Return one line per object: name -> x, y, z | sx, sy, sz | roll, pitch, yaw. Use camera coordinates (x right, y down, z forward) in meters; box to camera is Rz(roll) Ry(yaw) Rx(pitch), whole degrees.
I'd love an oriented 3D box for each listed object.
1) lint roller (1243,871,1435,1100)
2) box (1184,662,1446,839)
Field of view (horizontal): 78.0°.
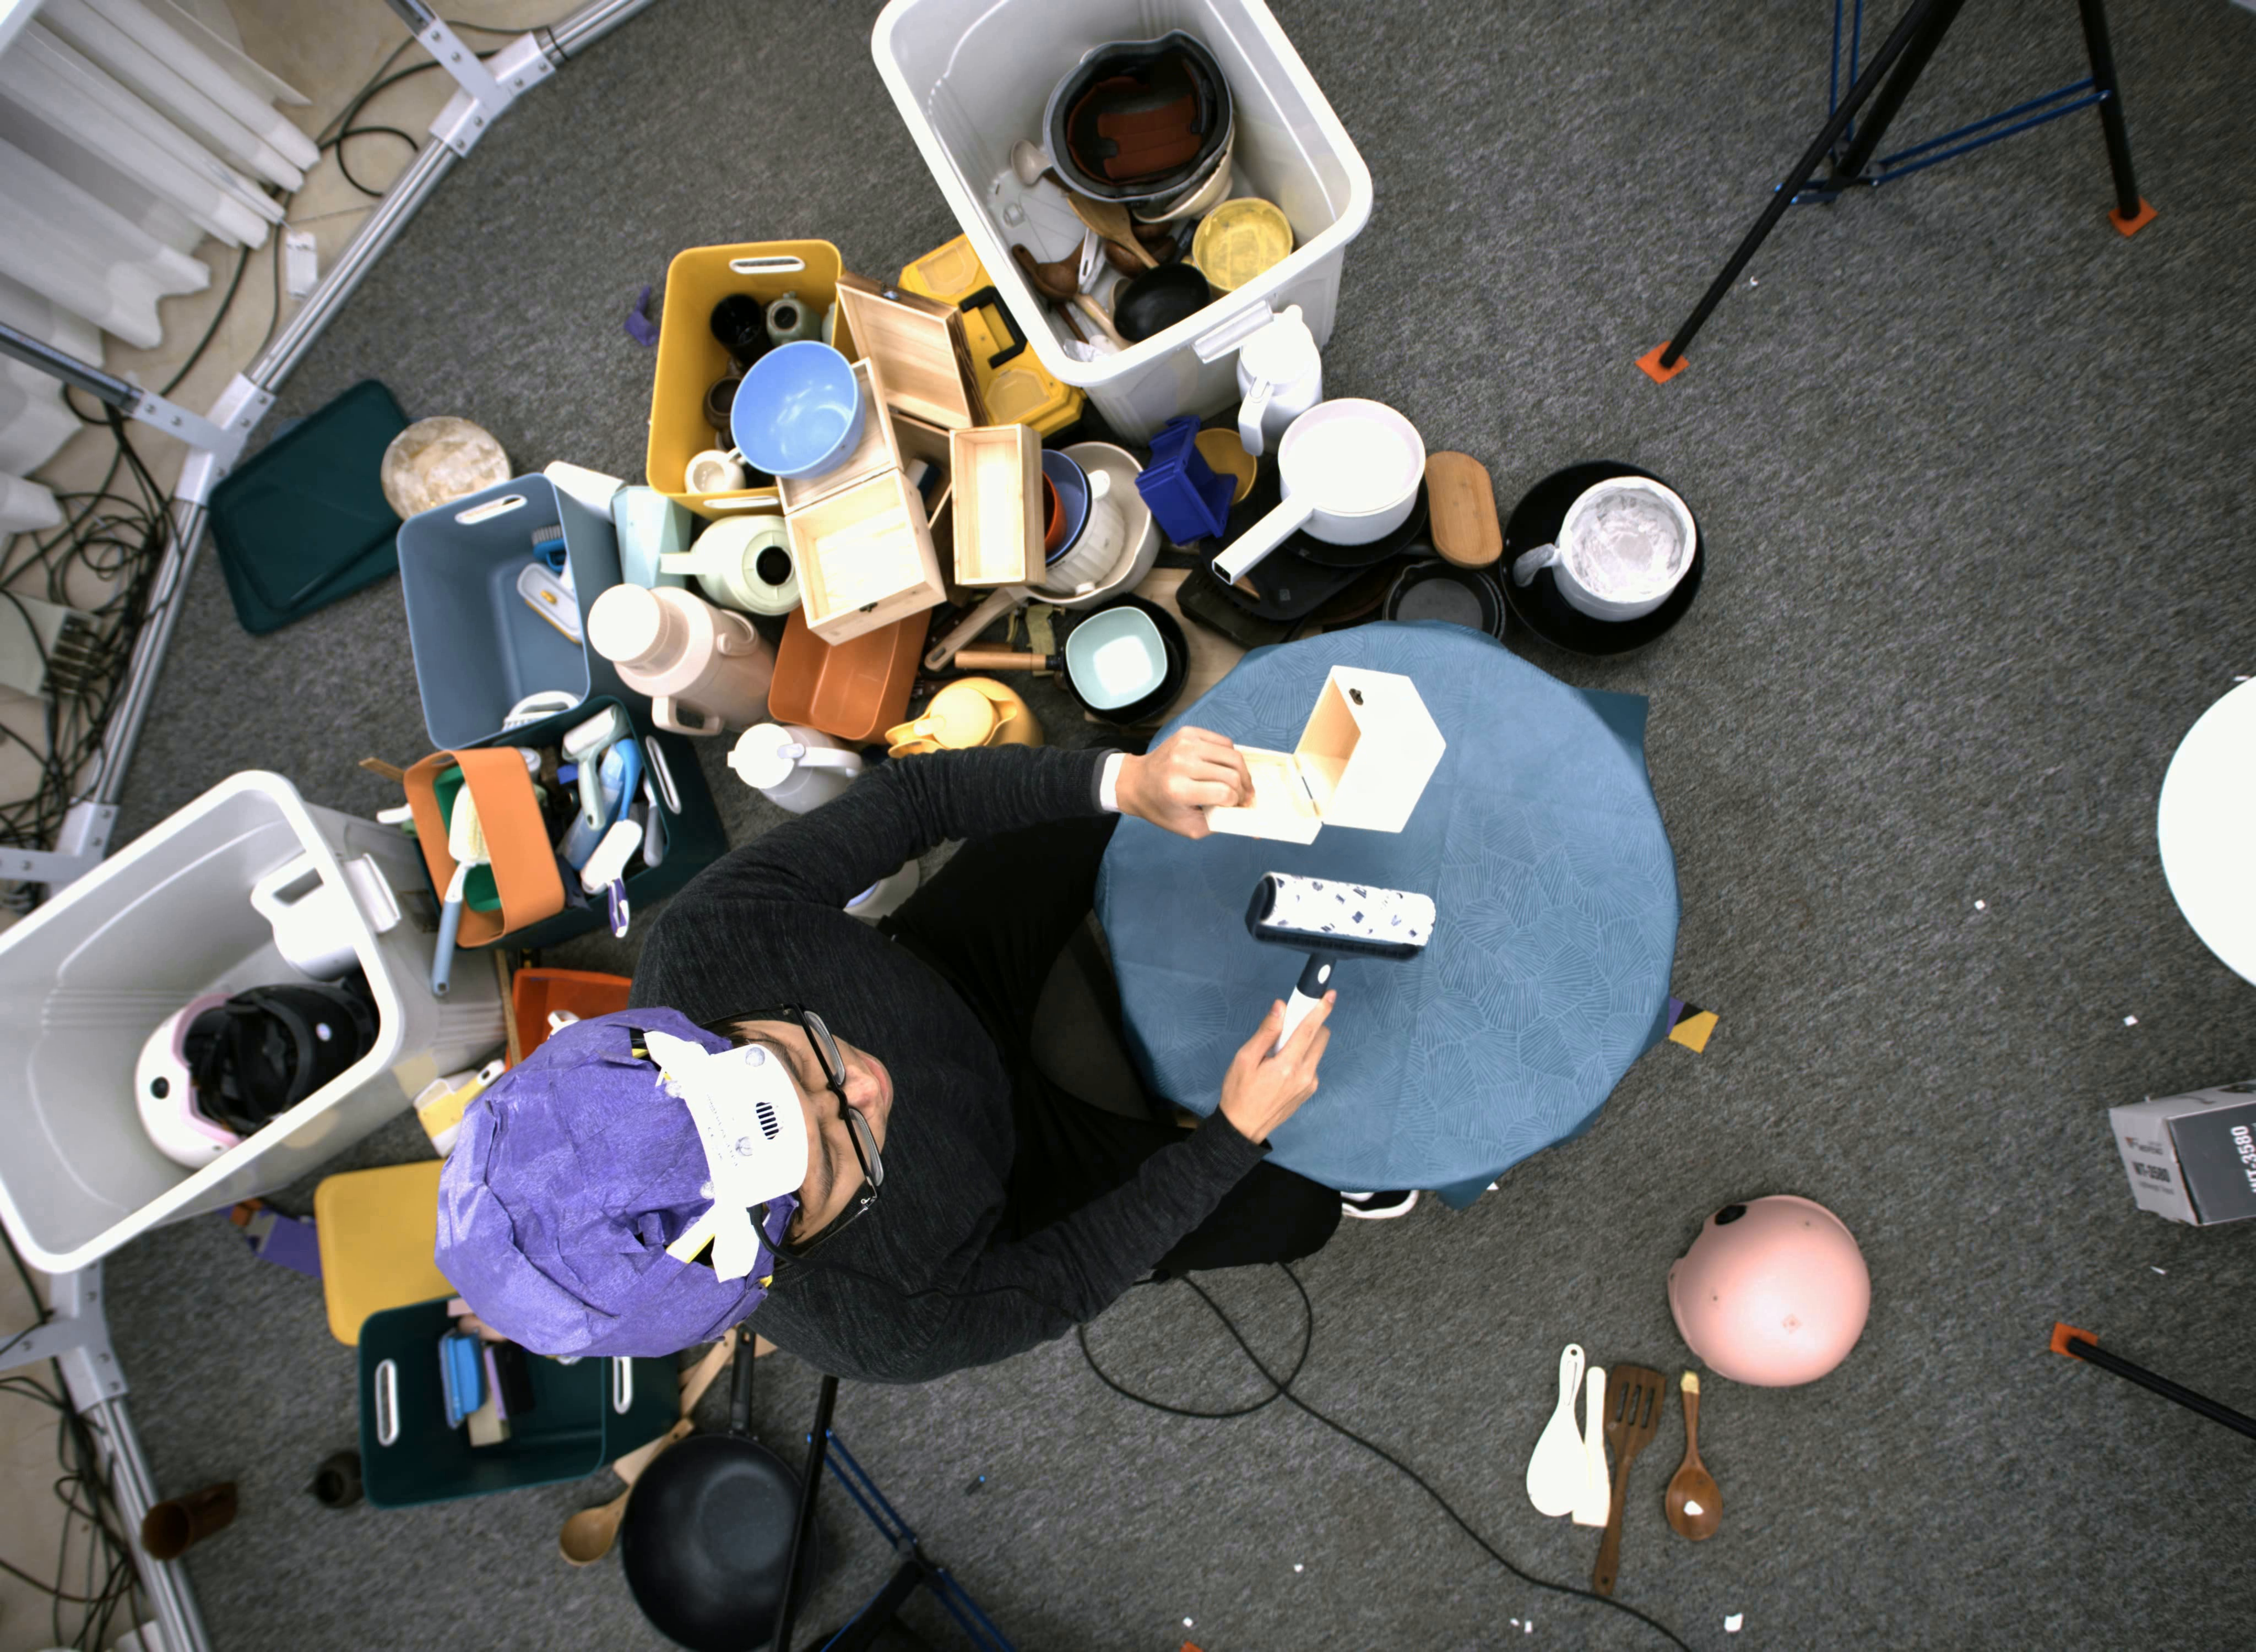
lint roller -> 0.170, 0.161, 1.300 | 0.176, 0.049, 0.252 | 8, 117, -17
box -> 0.160, -0.071, 1.211 | 0.184, 0.100, 0.137 | 6, 130, -17
